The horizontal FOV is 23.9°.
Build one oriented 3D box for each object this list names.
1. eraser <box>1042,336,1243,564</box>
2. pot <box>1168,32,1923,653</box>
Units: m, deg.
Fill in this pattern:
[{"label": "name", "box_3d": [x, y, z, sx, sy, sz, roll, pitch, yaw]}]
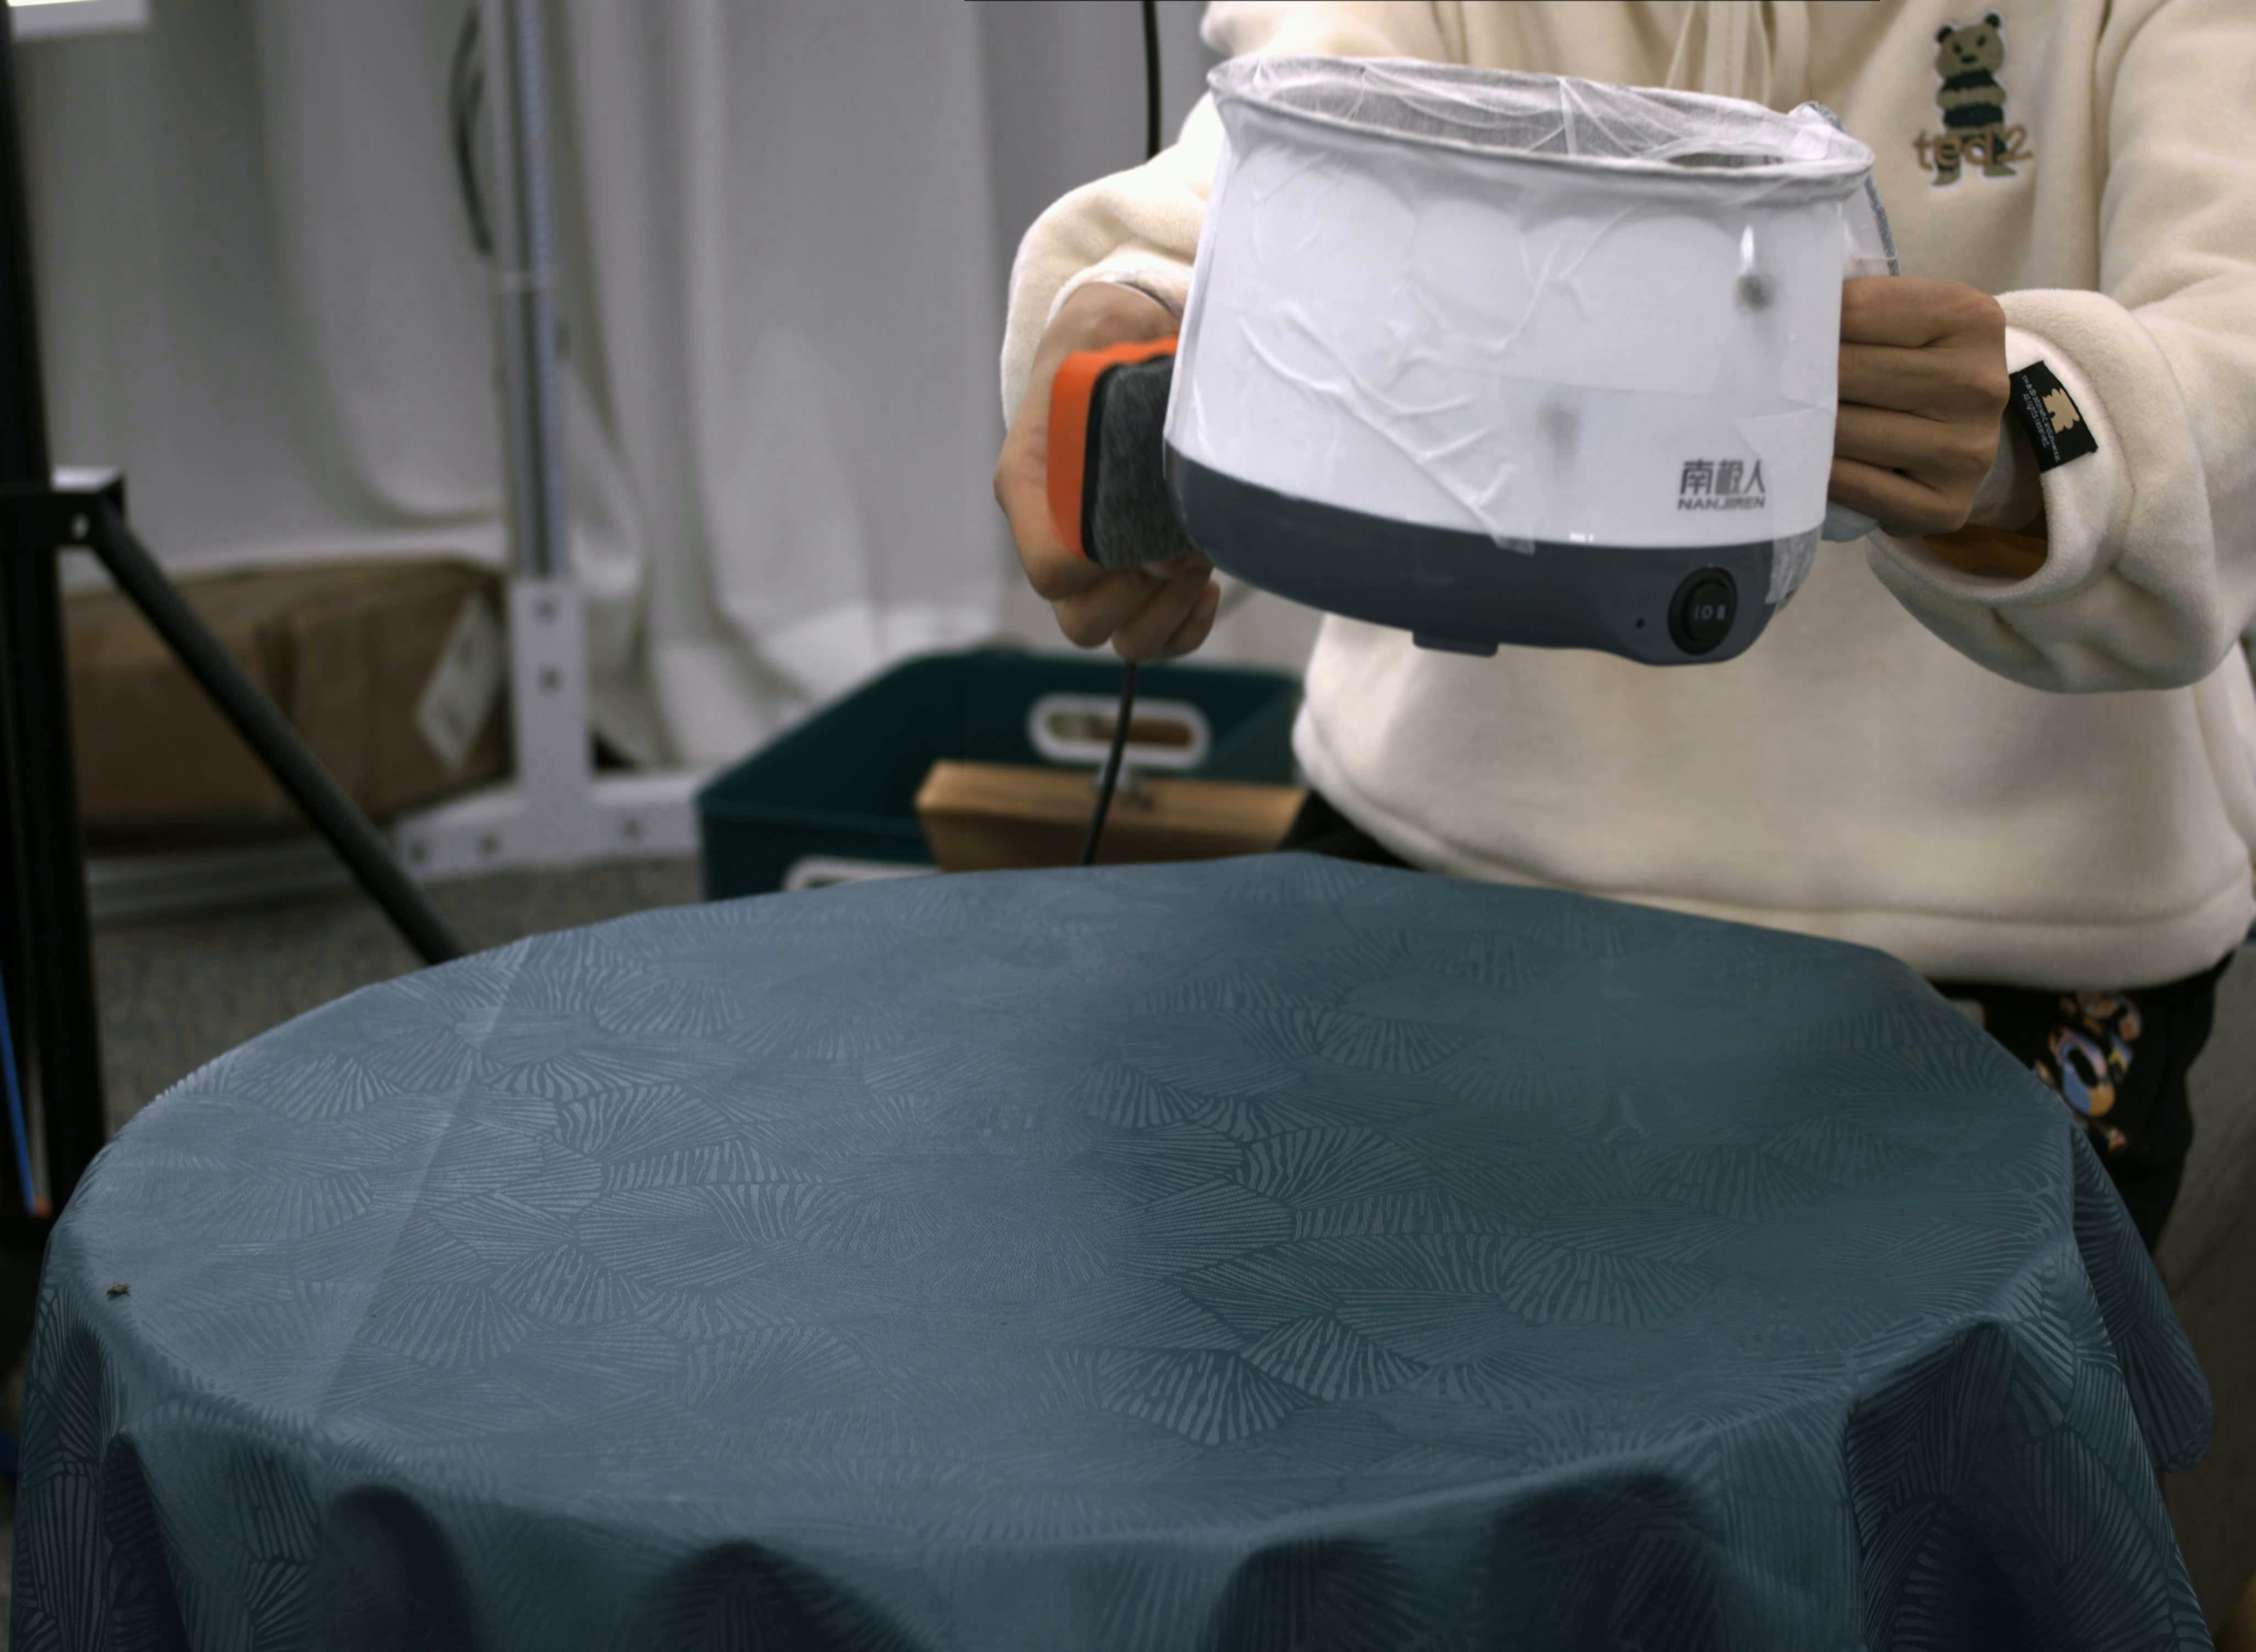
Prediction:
[{"label": "eraser", "box_3d": [0.022, -0.107, 1.481, 0.105, 0.059, 0.023, -11, 21, -42]}, {"label": "pot", "box_3d": [0.123, -0.131, 1.412, 0.228, 0.137, 0.183, -6, 19, -37]}]
